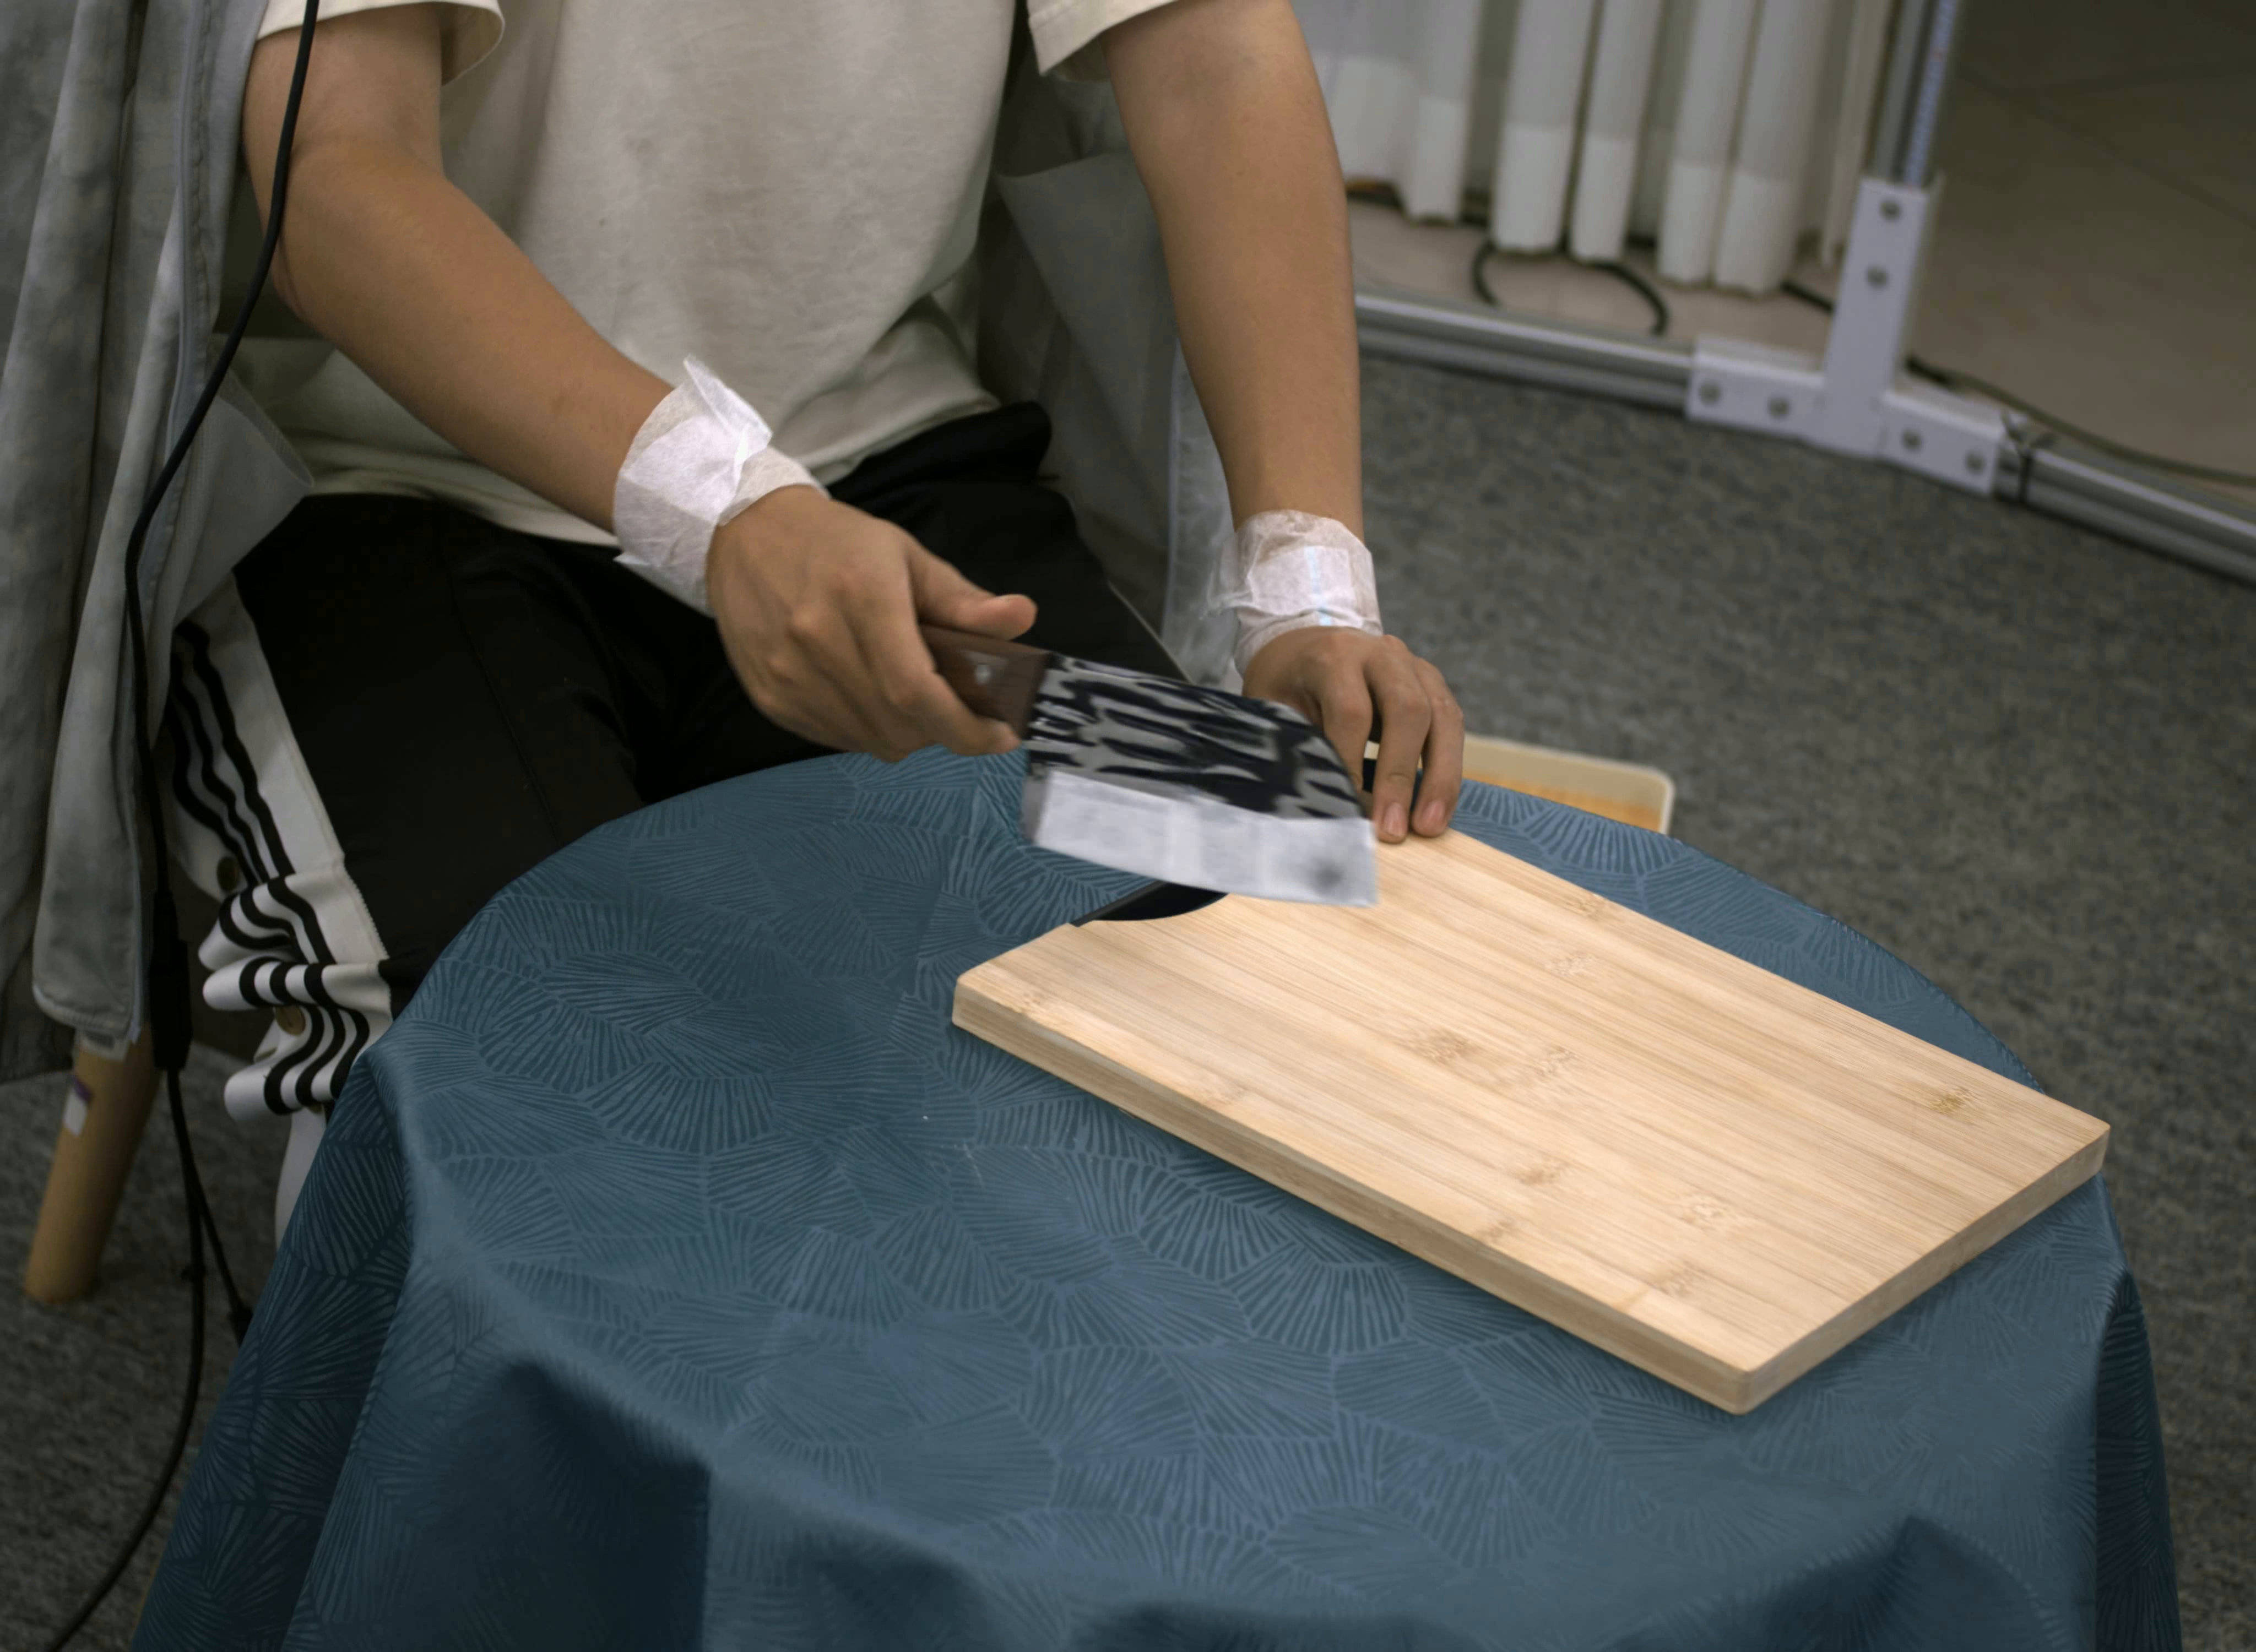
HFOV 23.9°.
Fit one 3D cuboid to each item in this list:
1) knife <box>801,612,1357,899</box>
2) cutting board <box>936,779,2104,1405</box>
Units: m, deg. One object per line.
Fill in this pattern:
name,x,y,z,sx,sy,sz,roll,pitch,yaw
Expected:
knife,-0.020,-0.025,1.813,0.024,0.068,0.301,10,3,-42
cutting board,0.138,0.087,1.891,0.351,0.023,0.250,24,31,31
